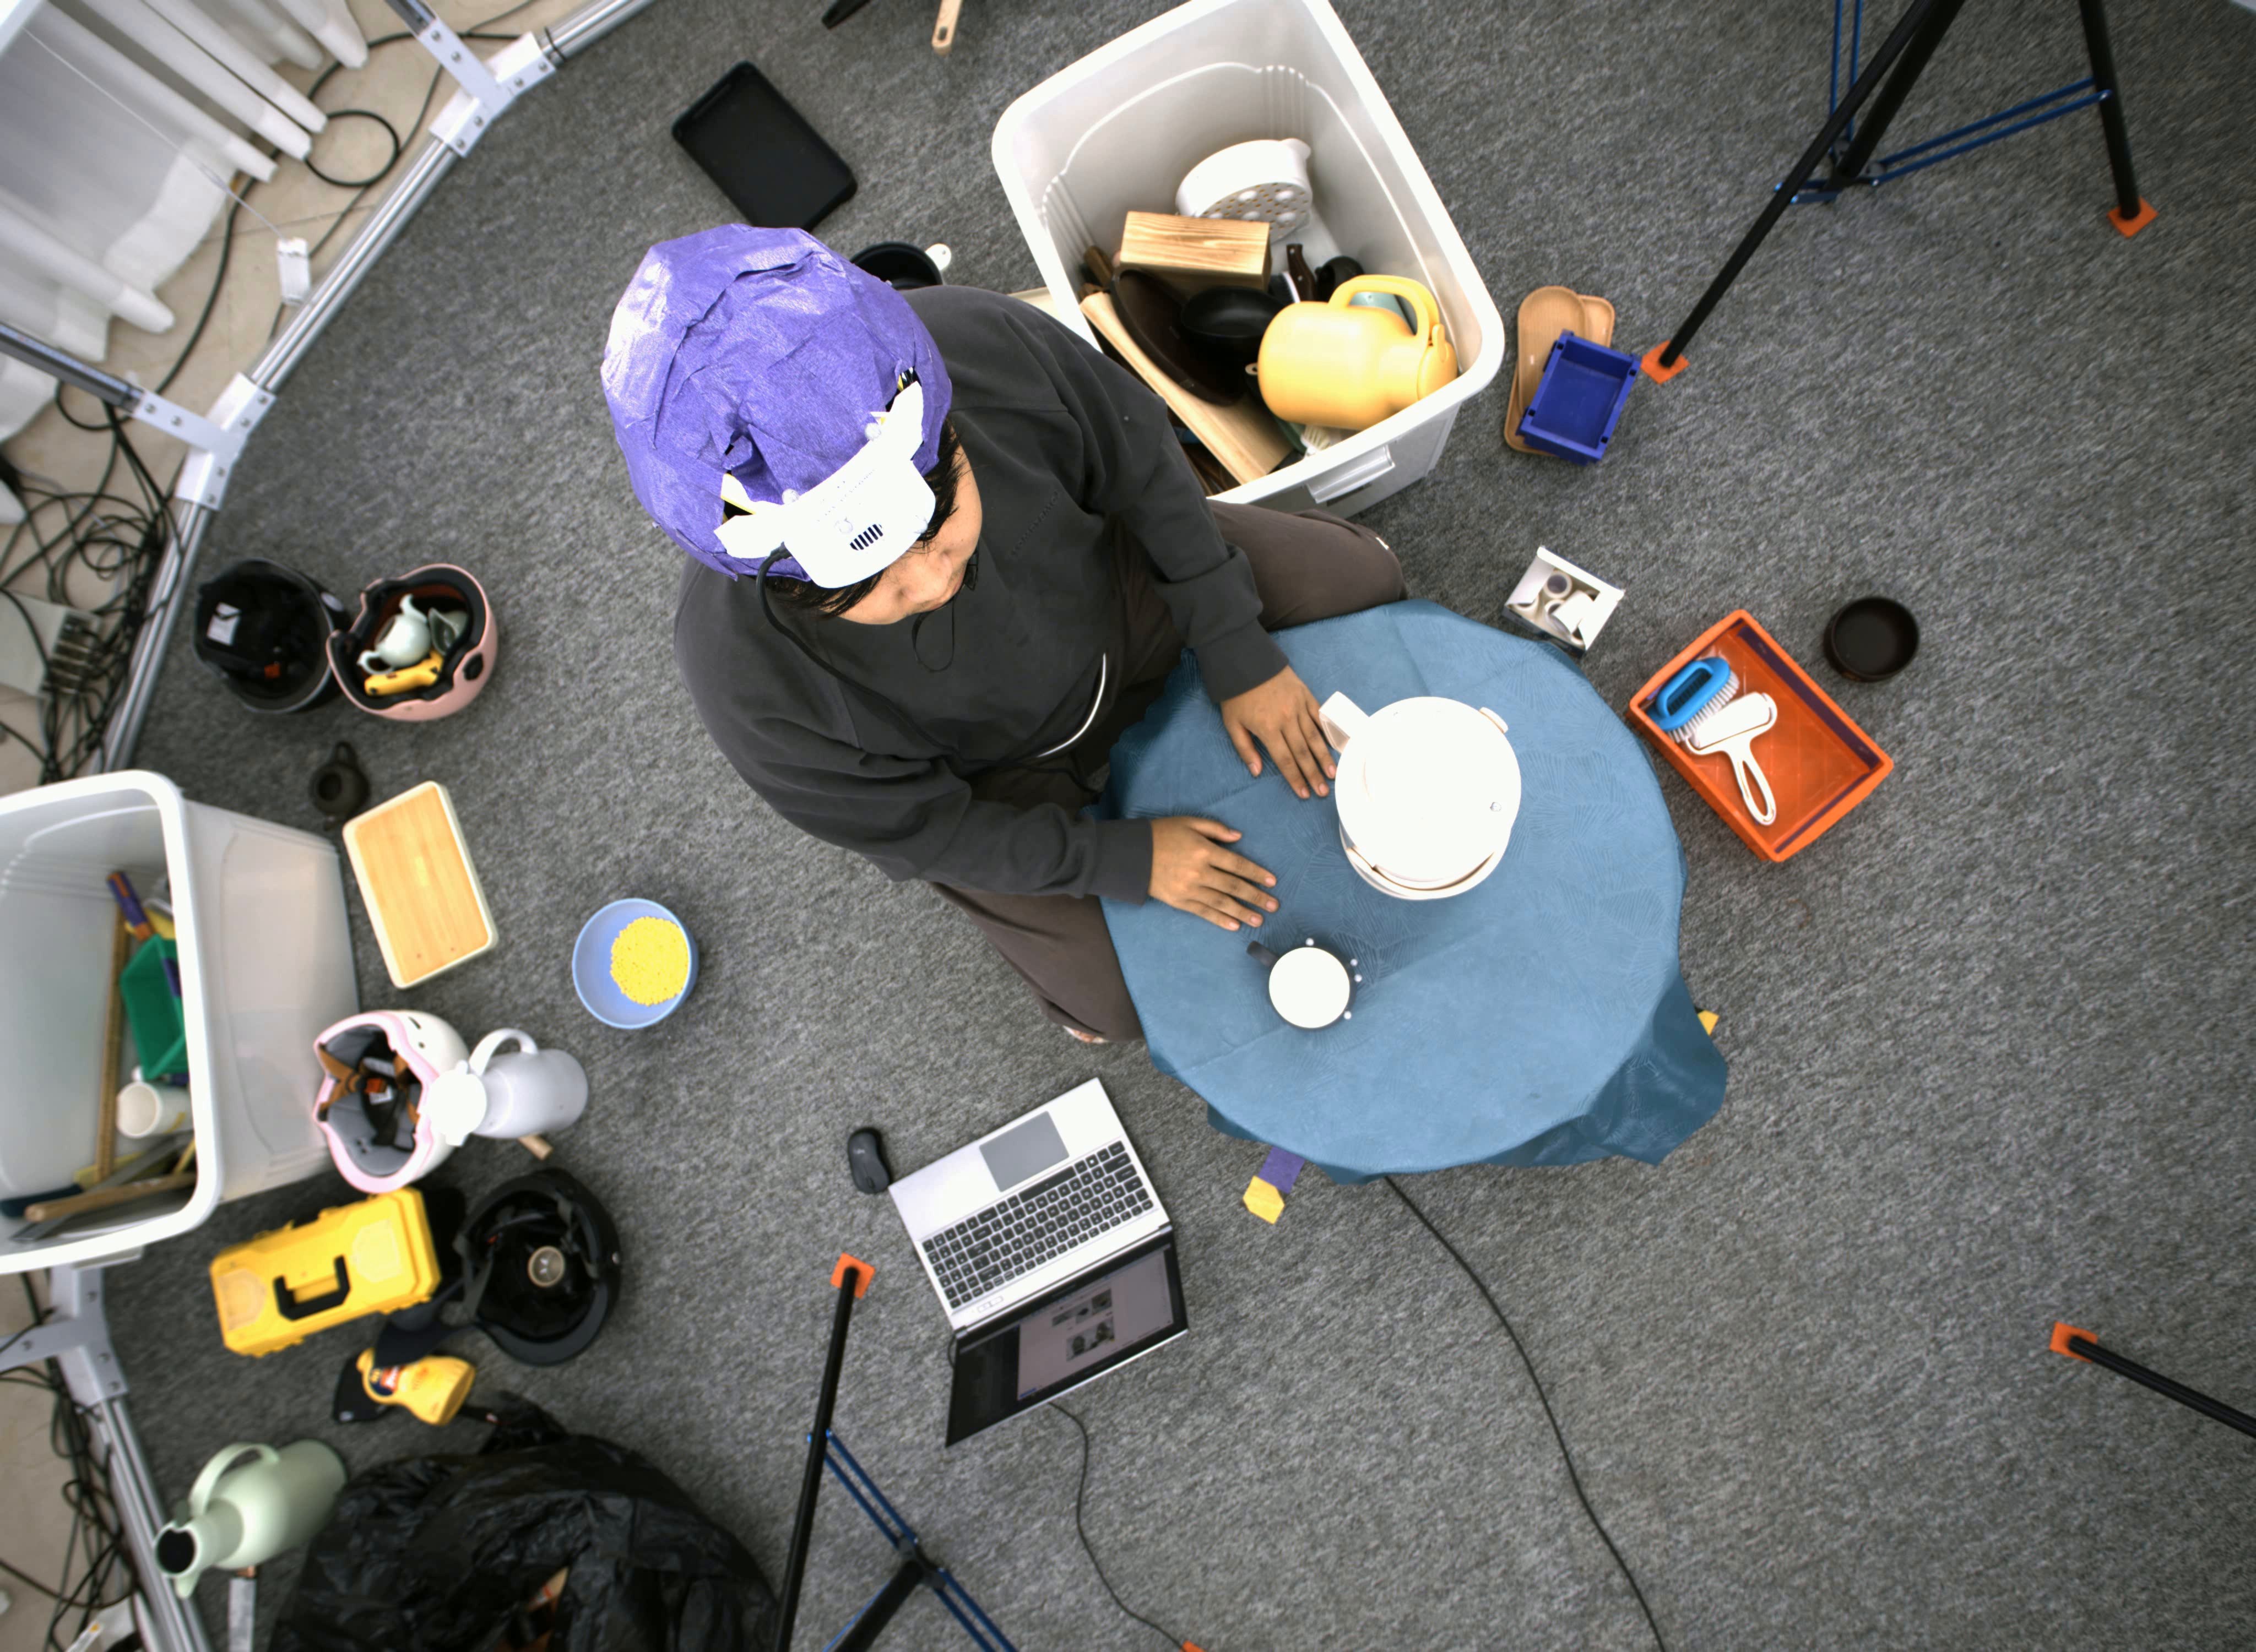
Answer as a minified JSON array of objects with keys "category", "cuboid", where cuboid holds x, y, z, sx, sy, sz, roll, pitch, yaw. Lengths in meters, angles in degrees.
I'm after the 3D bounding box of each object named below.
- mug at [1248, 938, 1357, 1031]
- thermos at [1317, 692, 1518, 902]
[{"category":"mug","cuboid":[0.176,0.155,1.427,0.123,0.090,0.094,36,92,11]},{"category":"thermos","cuboid":[0.259,-0.034,1.268,0.206,0.407,0.176,43,93,11]}]
